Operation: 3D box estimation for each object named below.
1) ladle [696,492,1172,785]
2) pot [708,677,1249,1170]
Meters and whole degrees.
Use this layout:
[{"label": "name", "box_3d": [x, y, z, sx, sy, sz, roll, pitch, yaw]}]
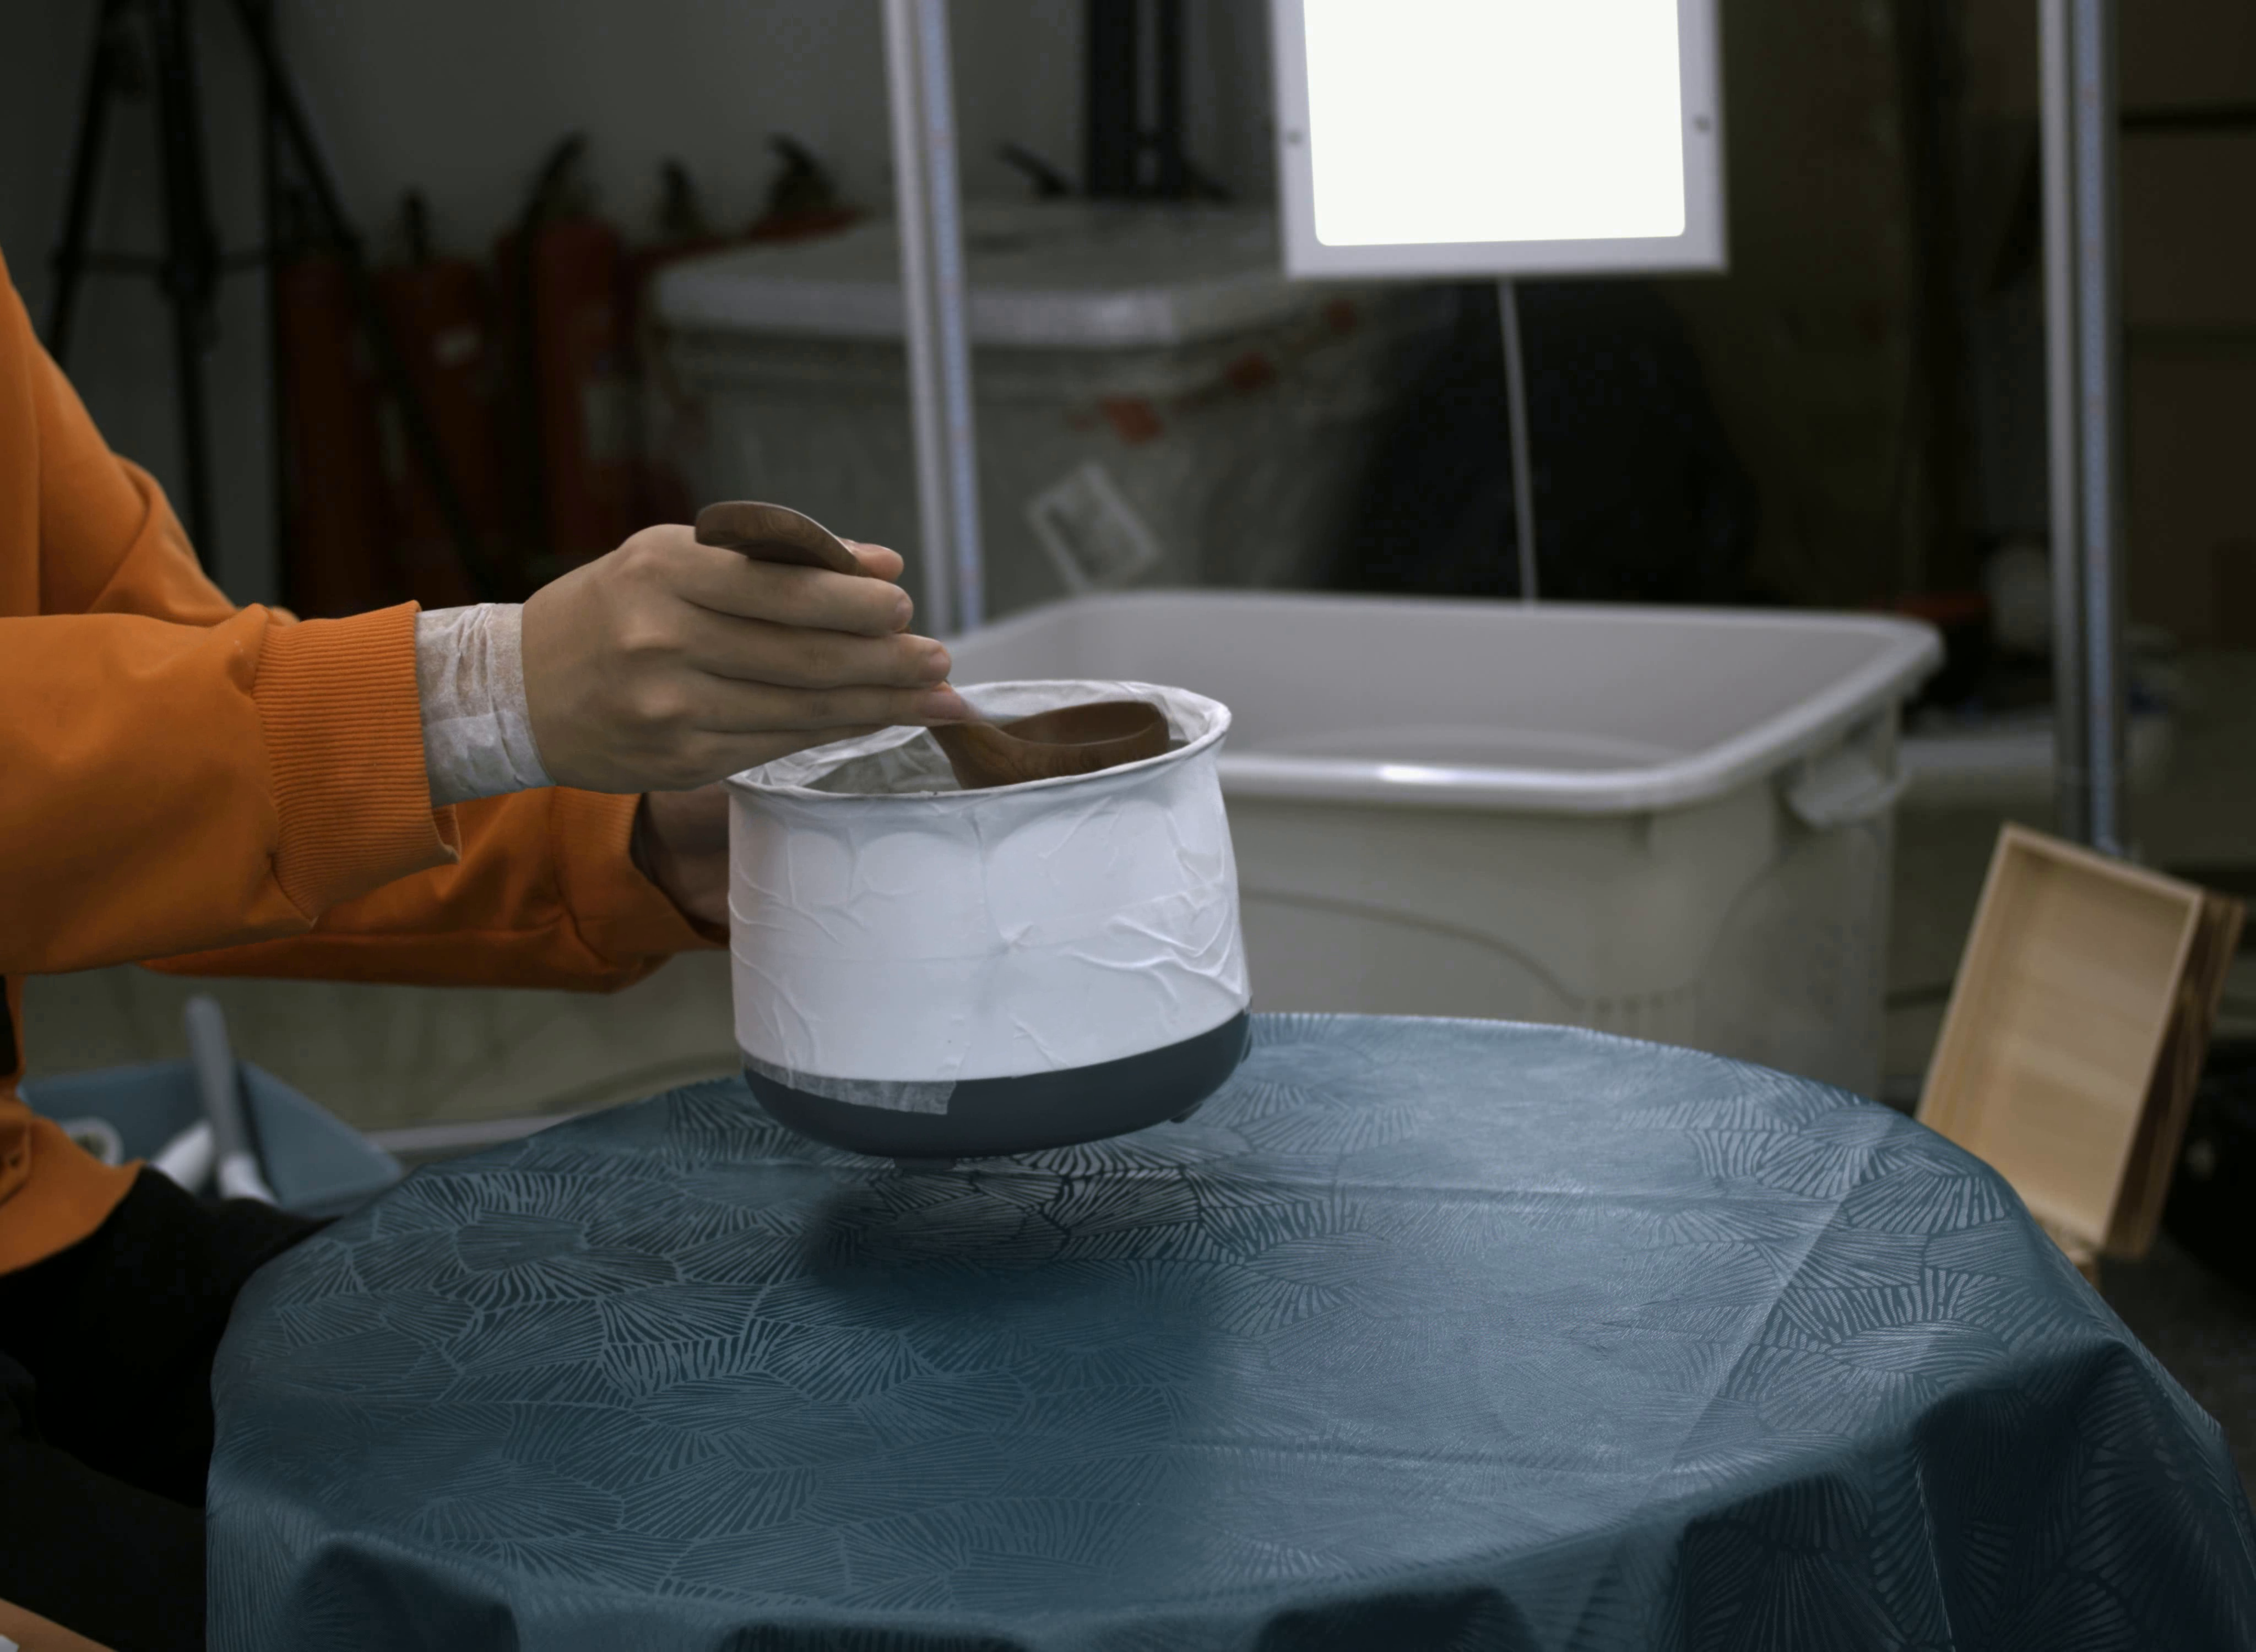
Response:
[{"label": "ladle", "box_3d": [-0.065, -0.065, 1.768, 0.078, 0.065, 0.256, -10, -30, 26]}, {"label": "pot", "box_3d": [-0.061, 0.026, 1.887, 0.175, 0.137, 0.237, -10, 14, -24]}]
